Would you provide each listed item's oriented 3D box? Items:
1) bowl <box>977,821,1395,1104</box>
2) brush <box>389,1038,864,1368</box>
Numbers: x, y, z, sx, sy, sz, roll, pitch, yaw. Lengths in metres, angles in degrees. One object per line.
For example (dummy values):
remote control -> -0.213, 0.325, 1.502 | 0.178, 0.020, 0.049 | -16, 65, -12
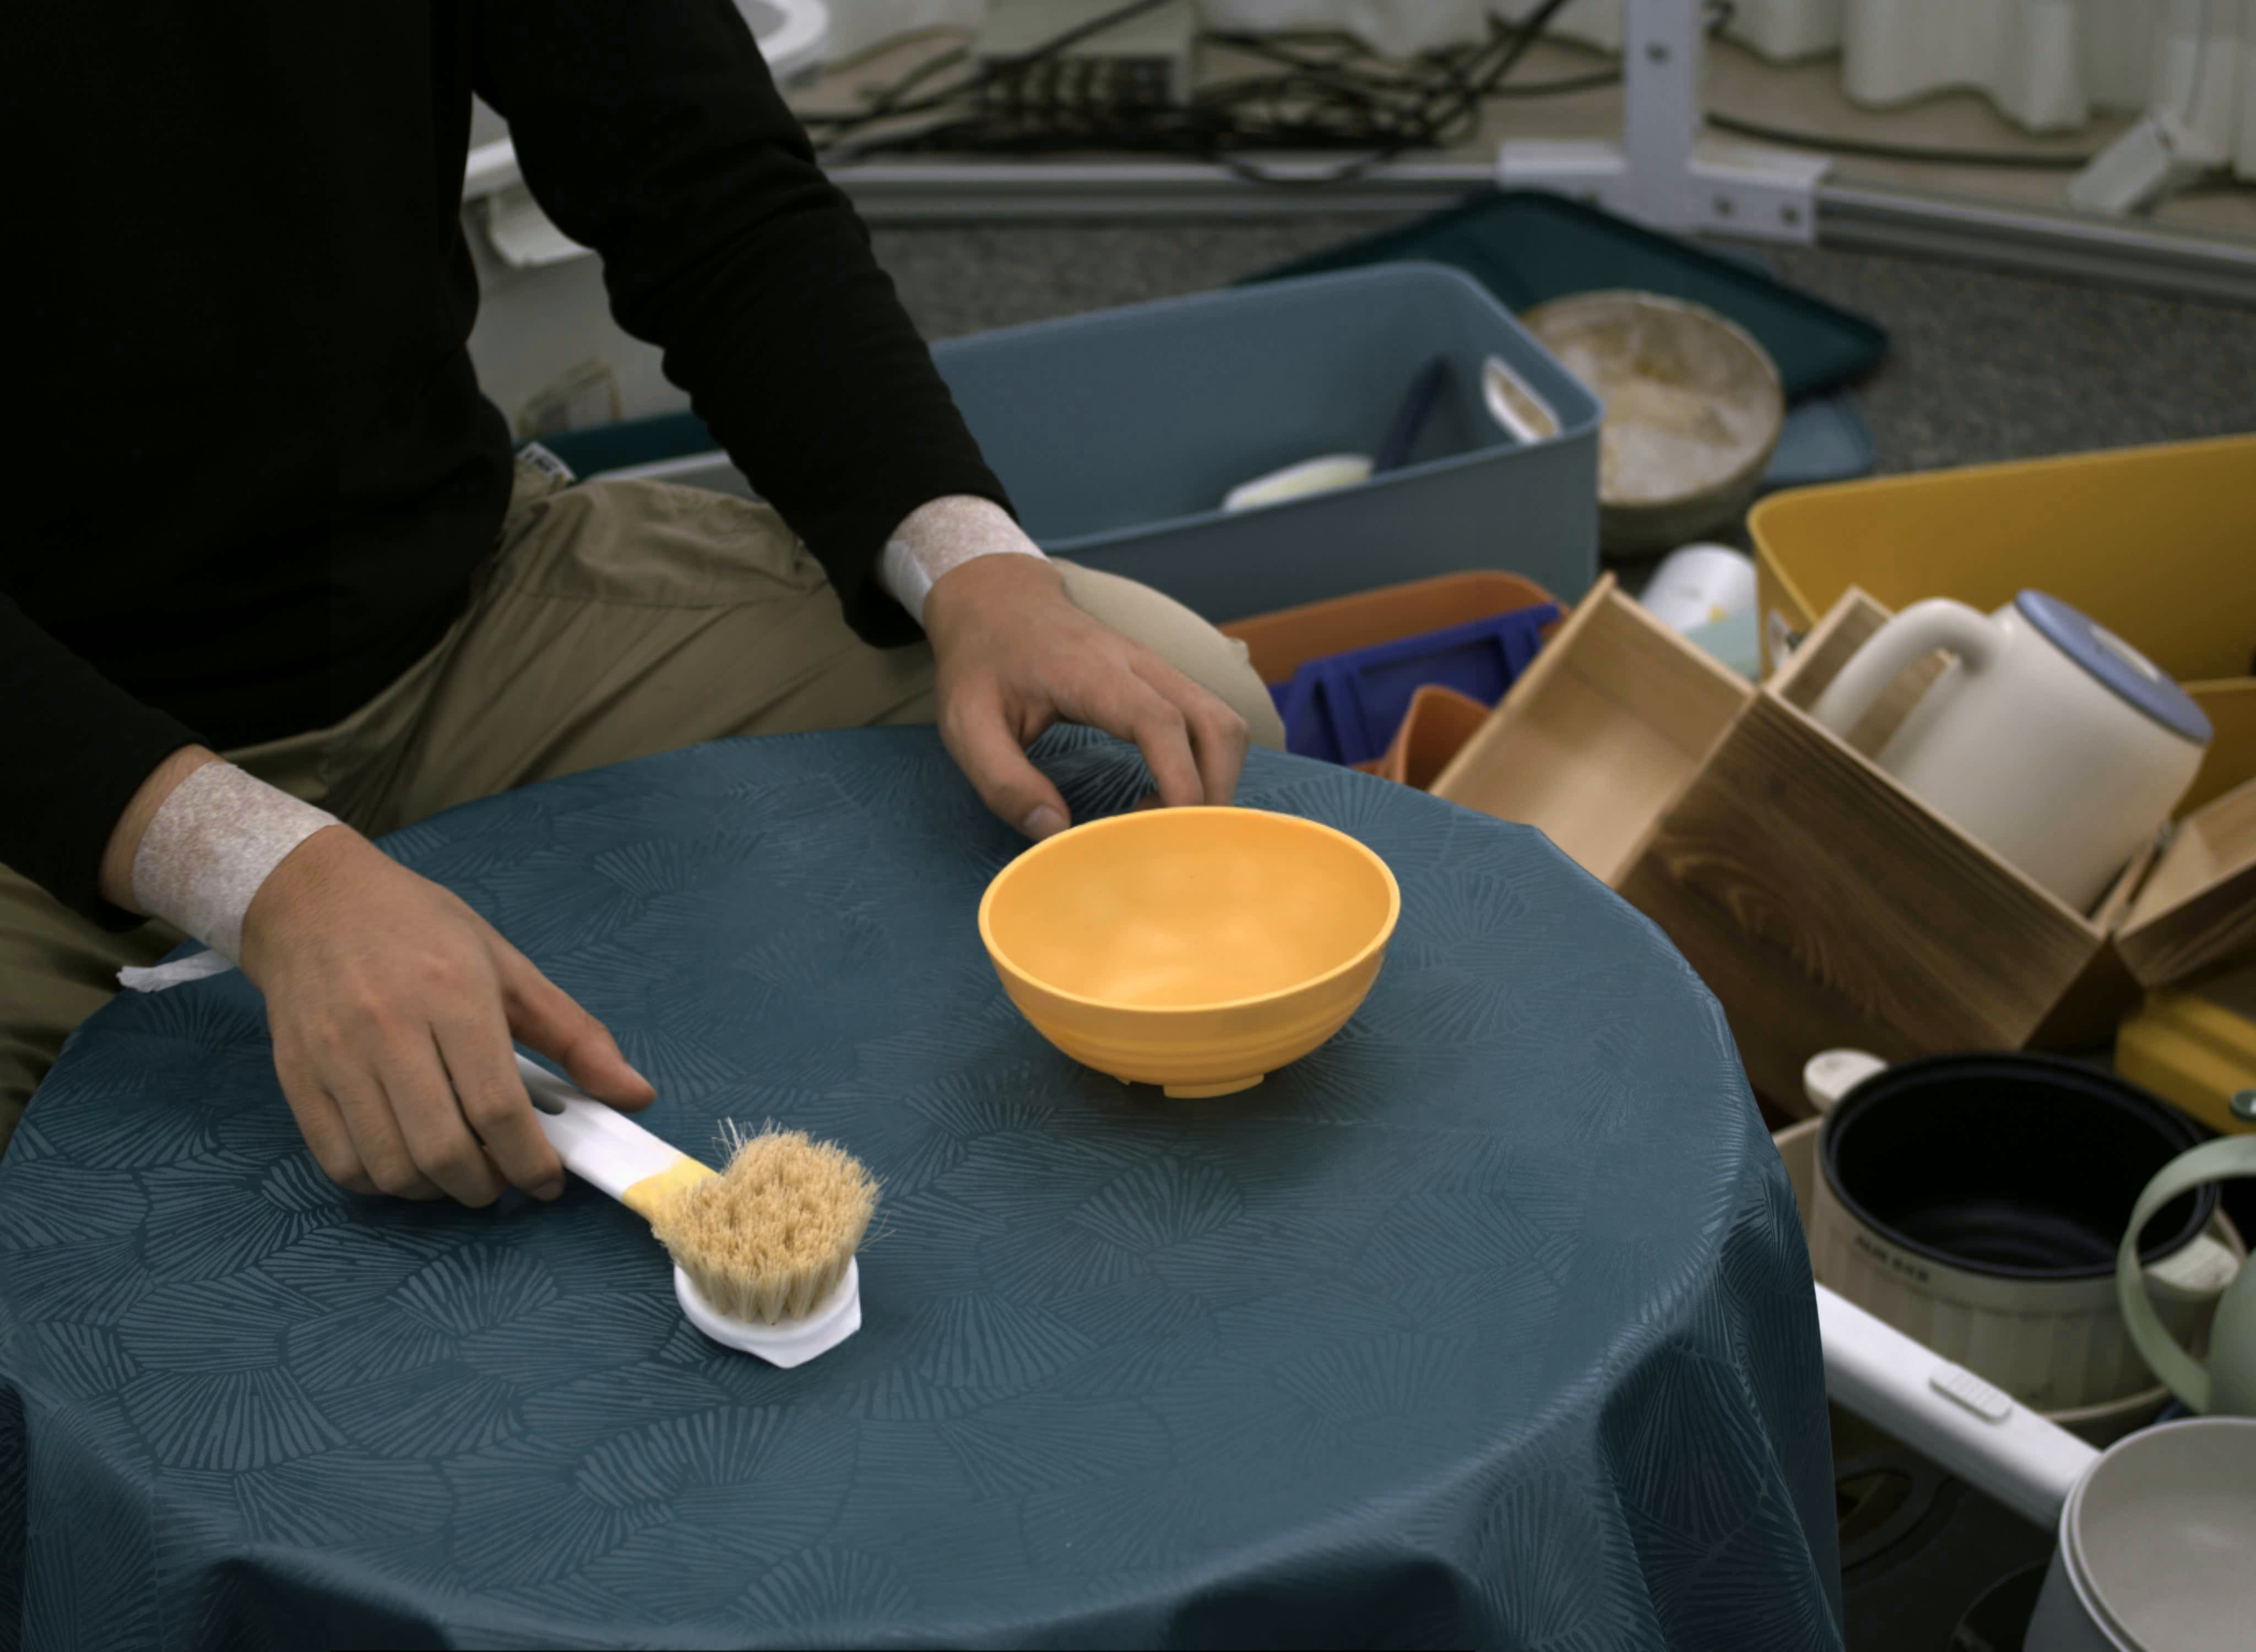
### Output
bowl -> 0.021, 0.054, 1.929 | 0.144, 0.059, 0.147 | -2, 25, 1
brush -> -0.176, 0.102, 1.859 | 0.069, 0.055, 0.267 | -15, 28, -32
